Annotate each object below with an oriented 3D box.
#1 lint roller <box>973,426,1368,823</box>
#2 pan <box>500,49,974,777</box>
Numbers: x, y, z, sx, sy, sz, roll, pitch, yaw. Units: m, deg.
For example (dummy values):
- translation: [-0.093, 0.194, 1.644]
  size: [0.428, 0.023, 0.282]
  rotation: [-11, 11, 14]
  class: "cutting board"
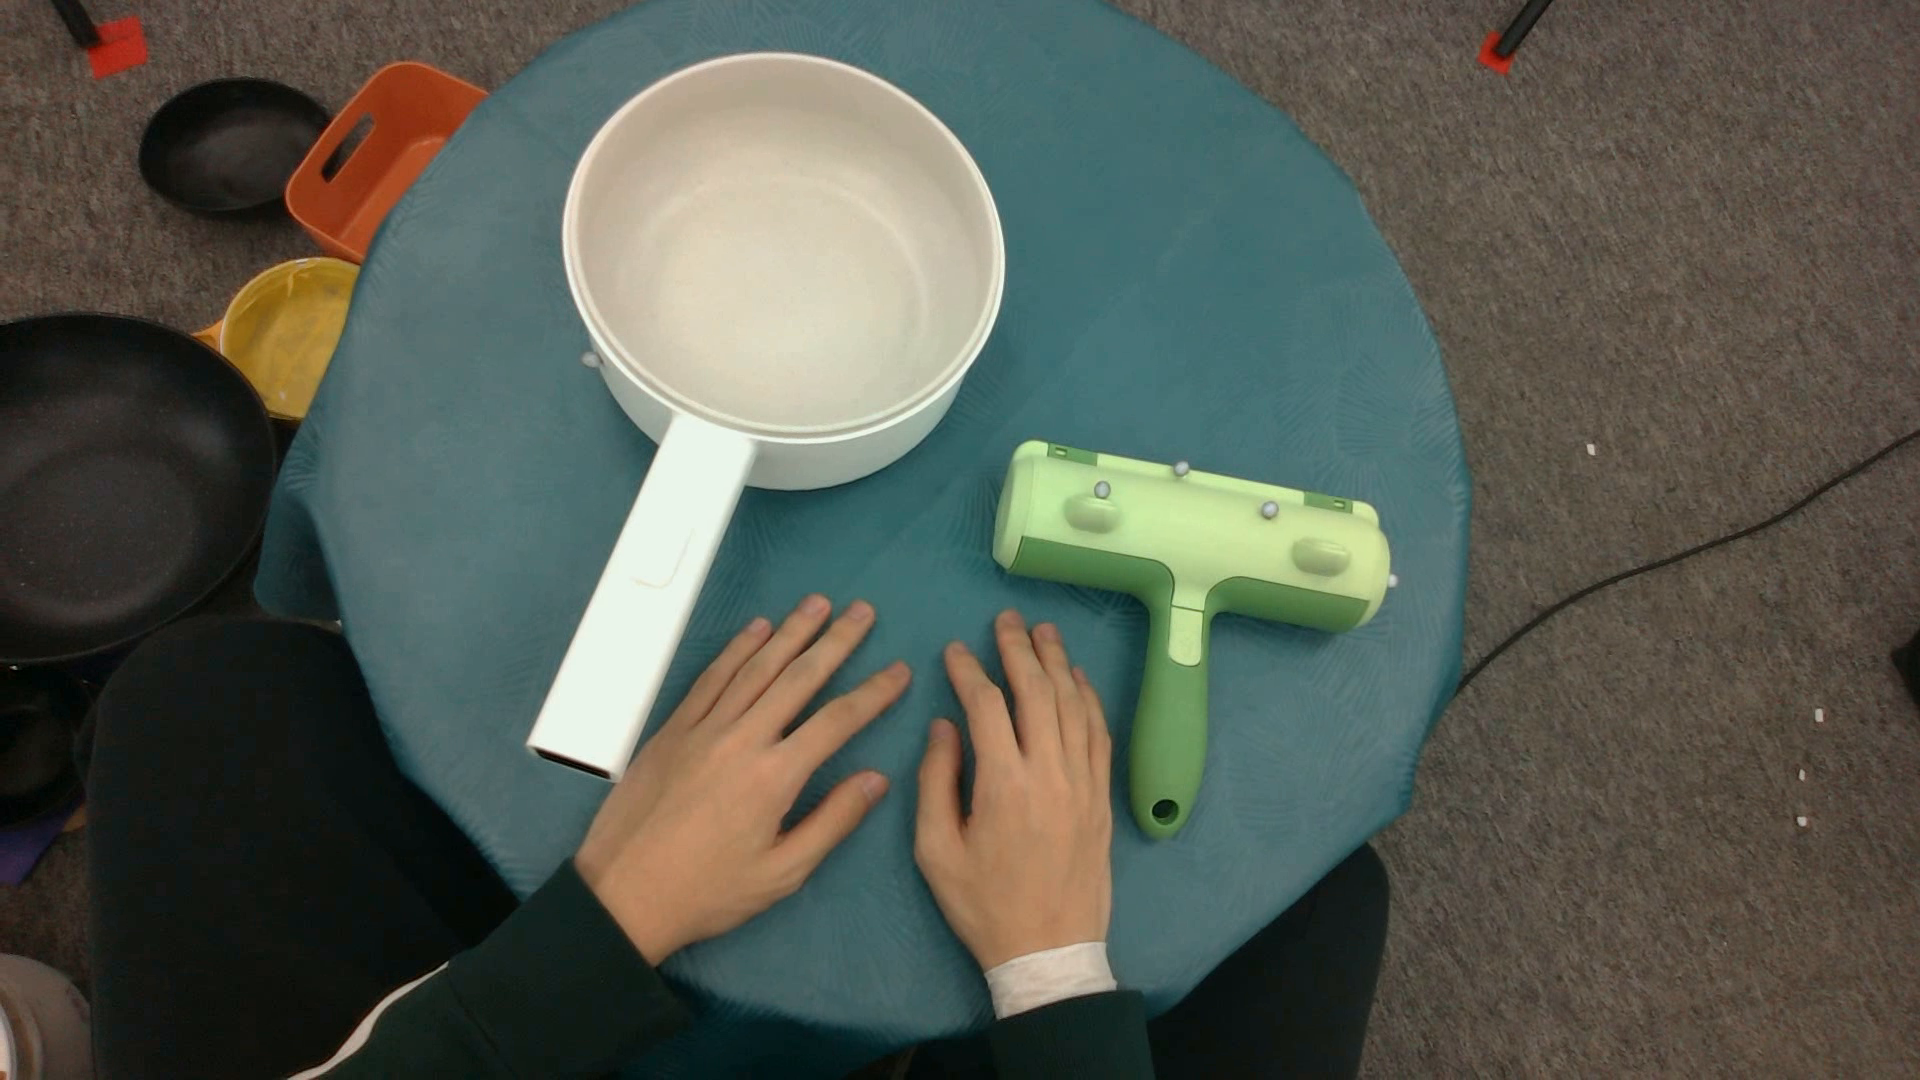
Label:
- translation: [0.103, 0.040, 0.669]
  size: [0.199, 0.082, 0.184]
  rotation: [9, 64, -8]
  class: "lint roller"
- translation: [-0.121, -0.059, 0.650]
  size: [0.201, 0.101, 0.356]
  rotation: [19, 70, -5]
  class: "pan"
